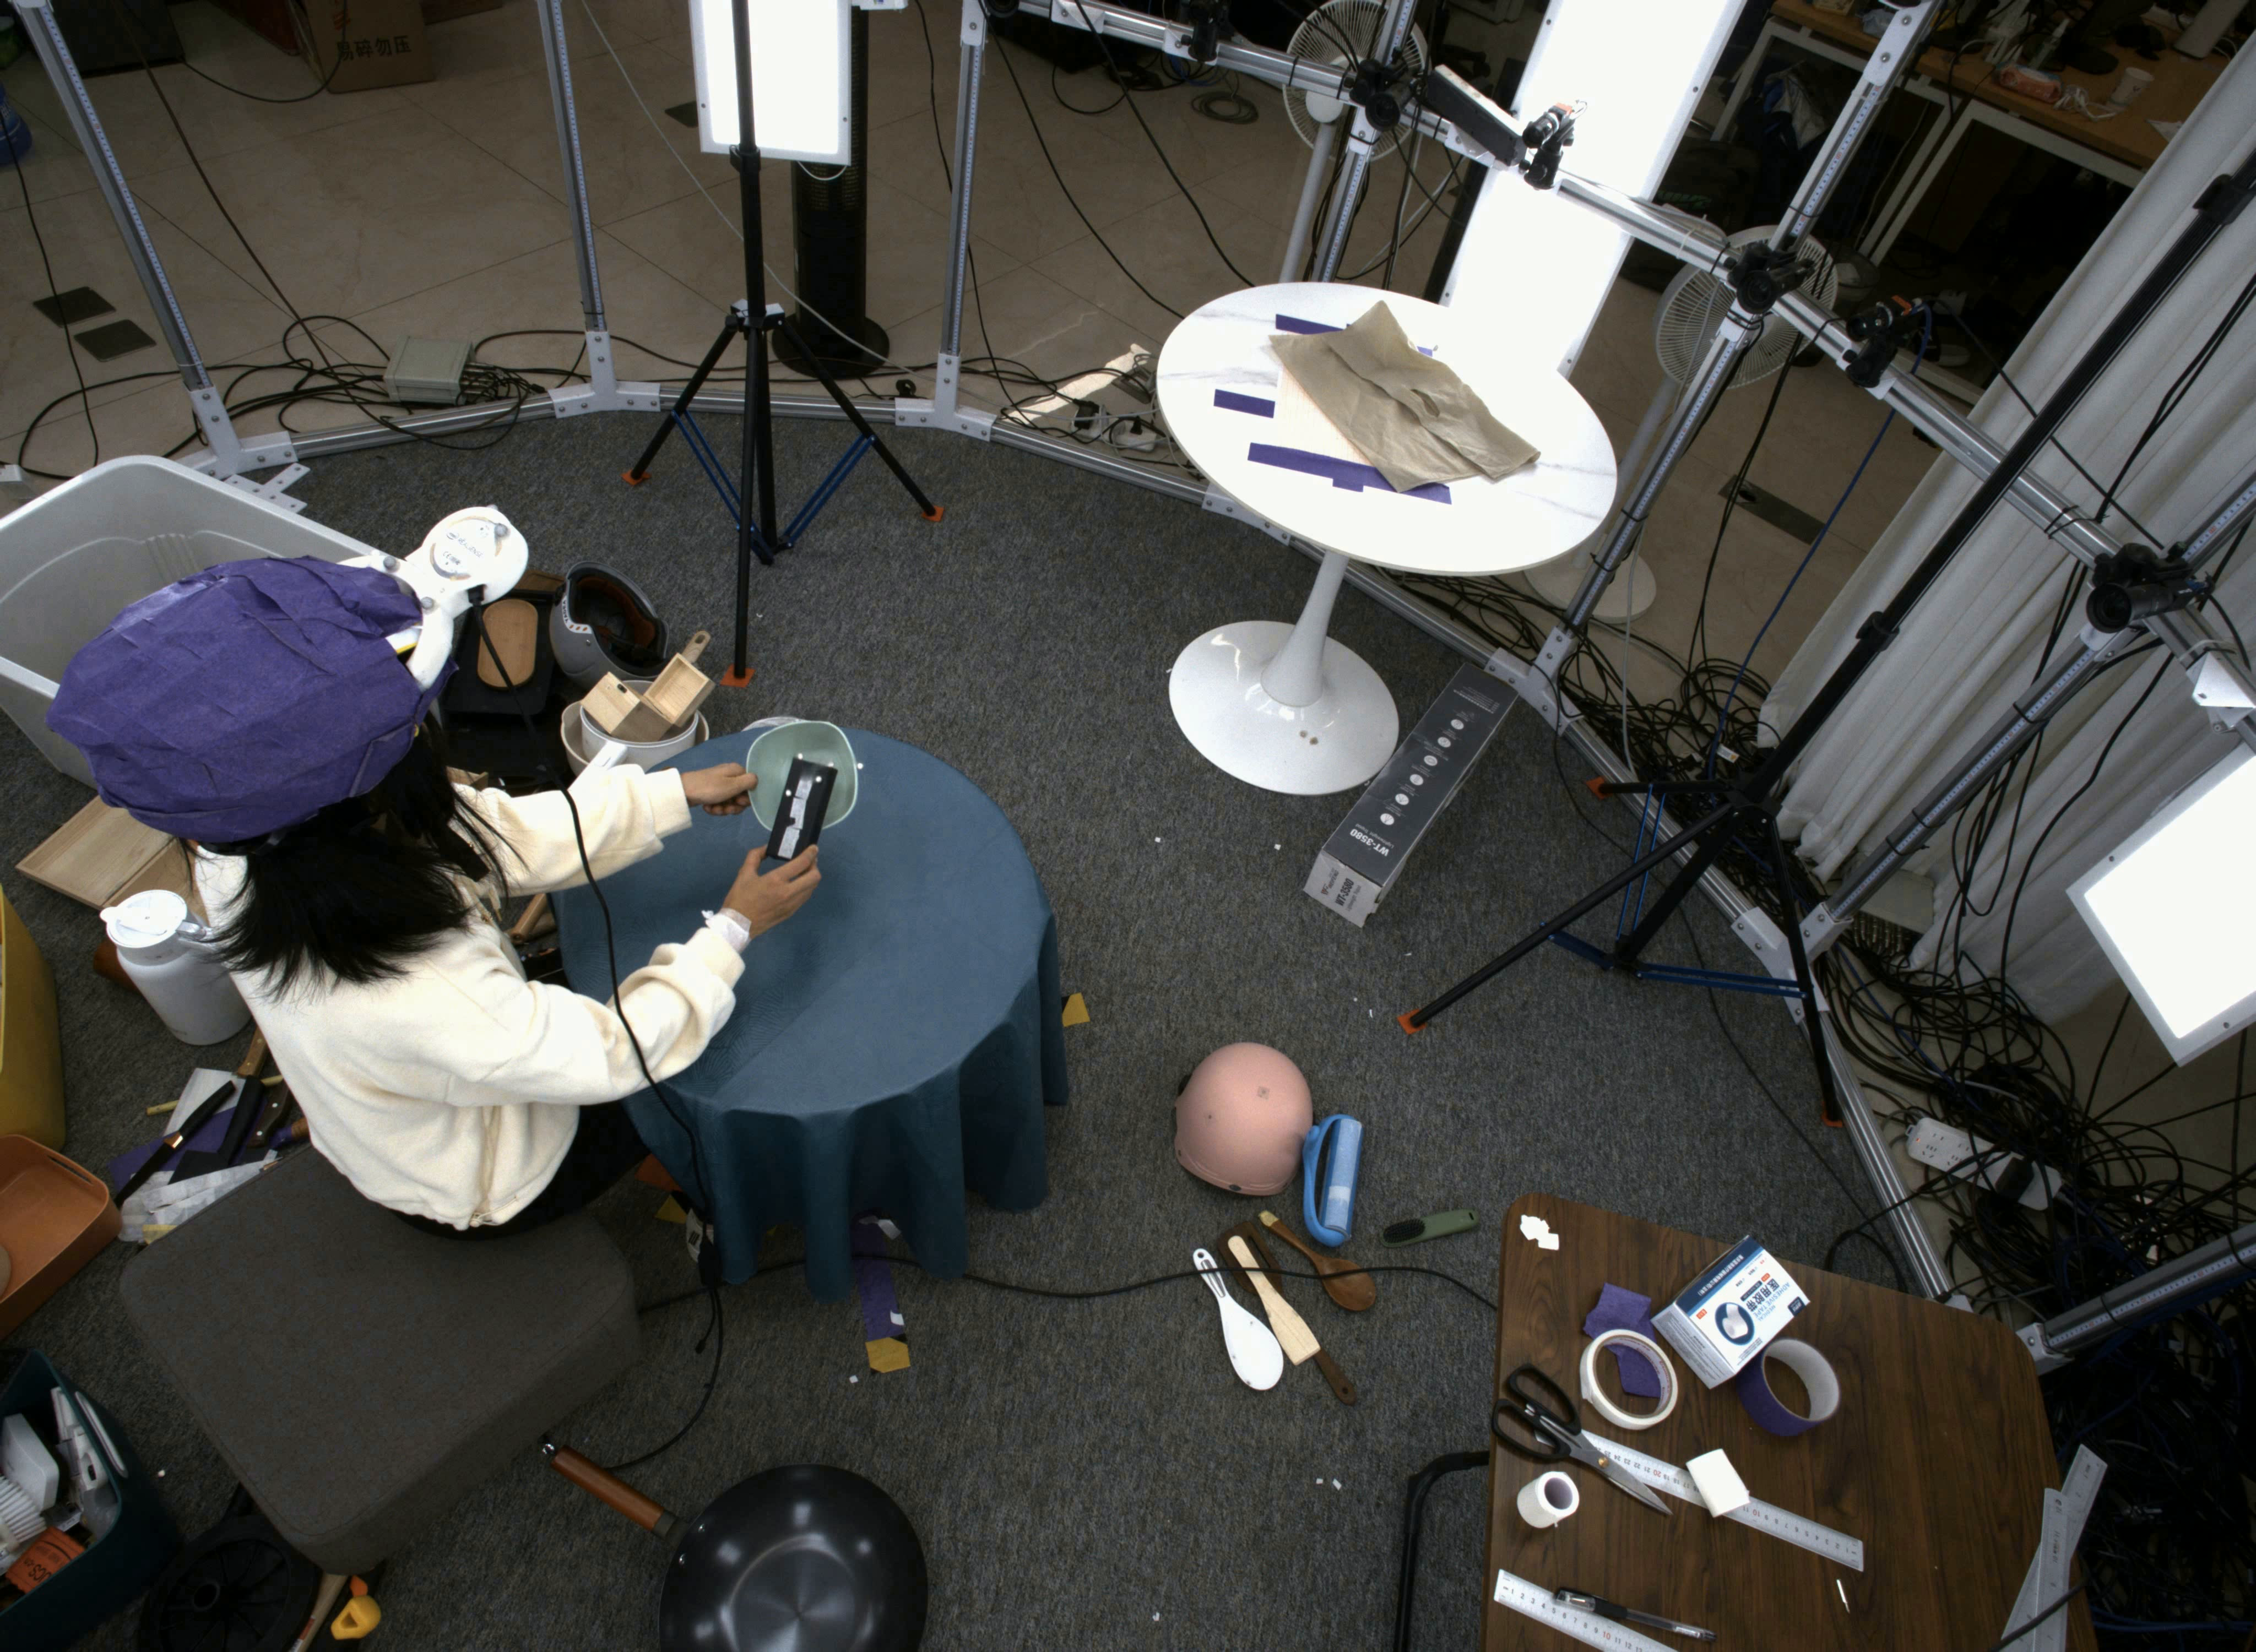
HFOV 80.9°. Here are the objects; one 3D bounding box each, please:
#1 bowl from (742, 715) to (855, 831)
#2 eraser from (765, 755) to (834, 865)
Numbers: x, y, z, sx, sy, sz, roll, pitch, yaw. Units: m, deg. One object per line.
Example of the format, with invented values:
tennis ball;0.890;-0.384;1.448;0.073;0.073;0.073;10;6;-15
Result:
bowl;-0.398;-0.060;1.594;0.149;0.059;0.152;0;84;2
eraser;-0.393;-0.020;1.550;0.053;0.030;0.126;12;86;4
